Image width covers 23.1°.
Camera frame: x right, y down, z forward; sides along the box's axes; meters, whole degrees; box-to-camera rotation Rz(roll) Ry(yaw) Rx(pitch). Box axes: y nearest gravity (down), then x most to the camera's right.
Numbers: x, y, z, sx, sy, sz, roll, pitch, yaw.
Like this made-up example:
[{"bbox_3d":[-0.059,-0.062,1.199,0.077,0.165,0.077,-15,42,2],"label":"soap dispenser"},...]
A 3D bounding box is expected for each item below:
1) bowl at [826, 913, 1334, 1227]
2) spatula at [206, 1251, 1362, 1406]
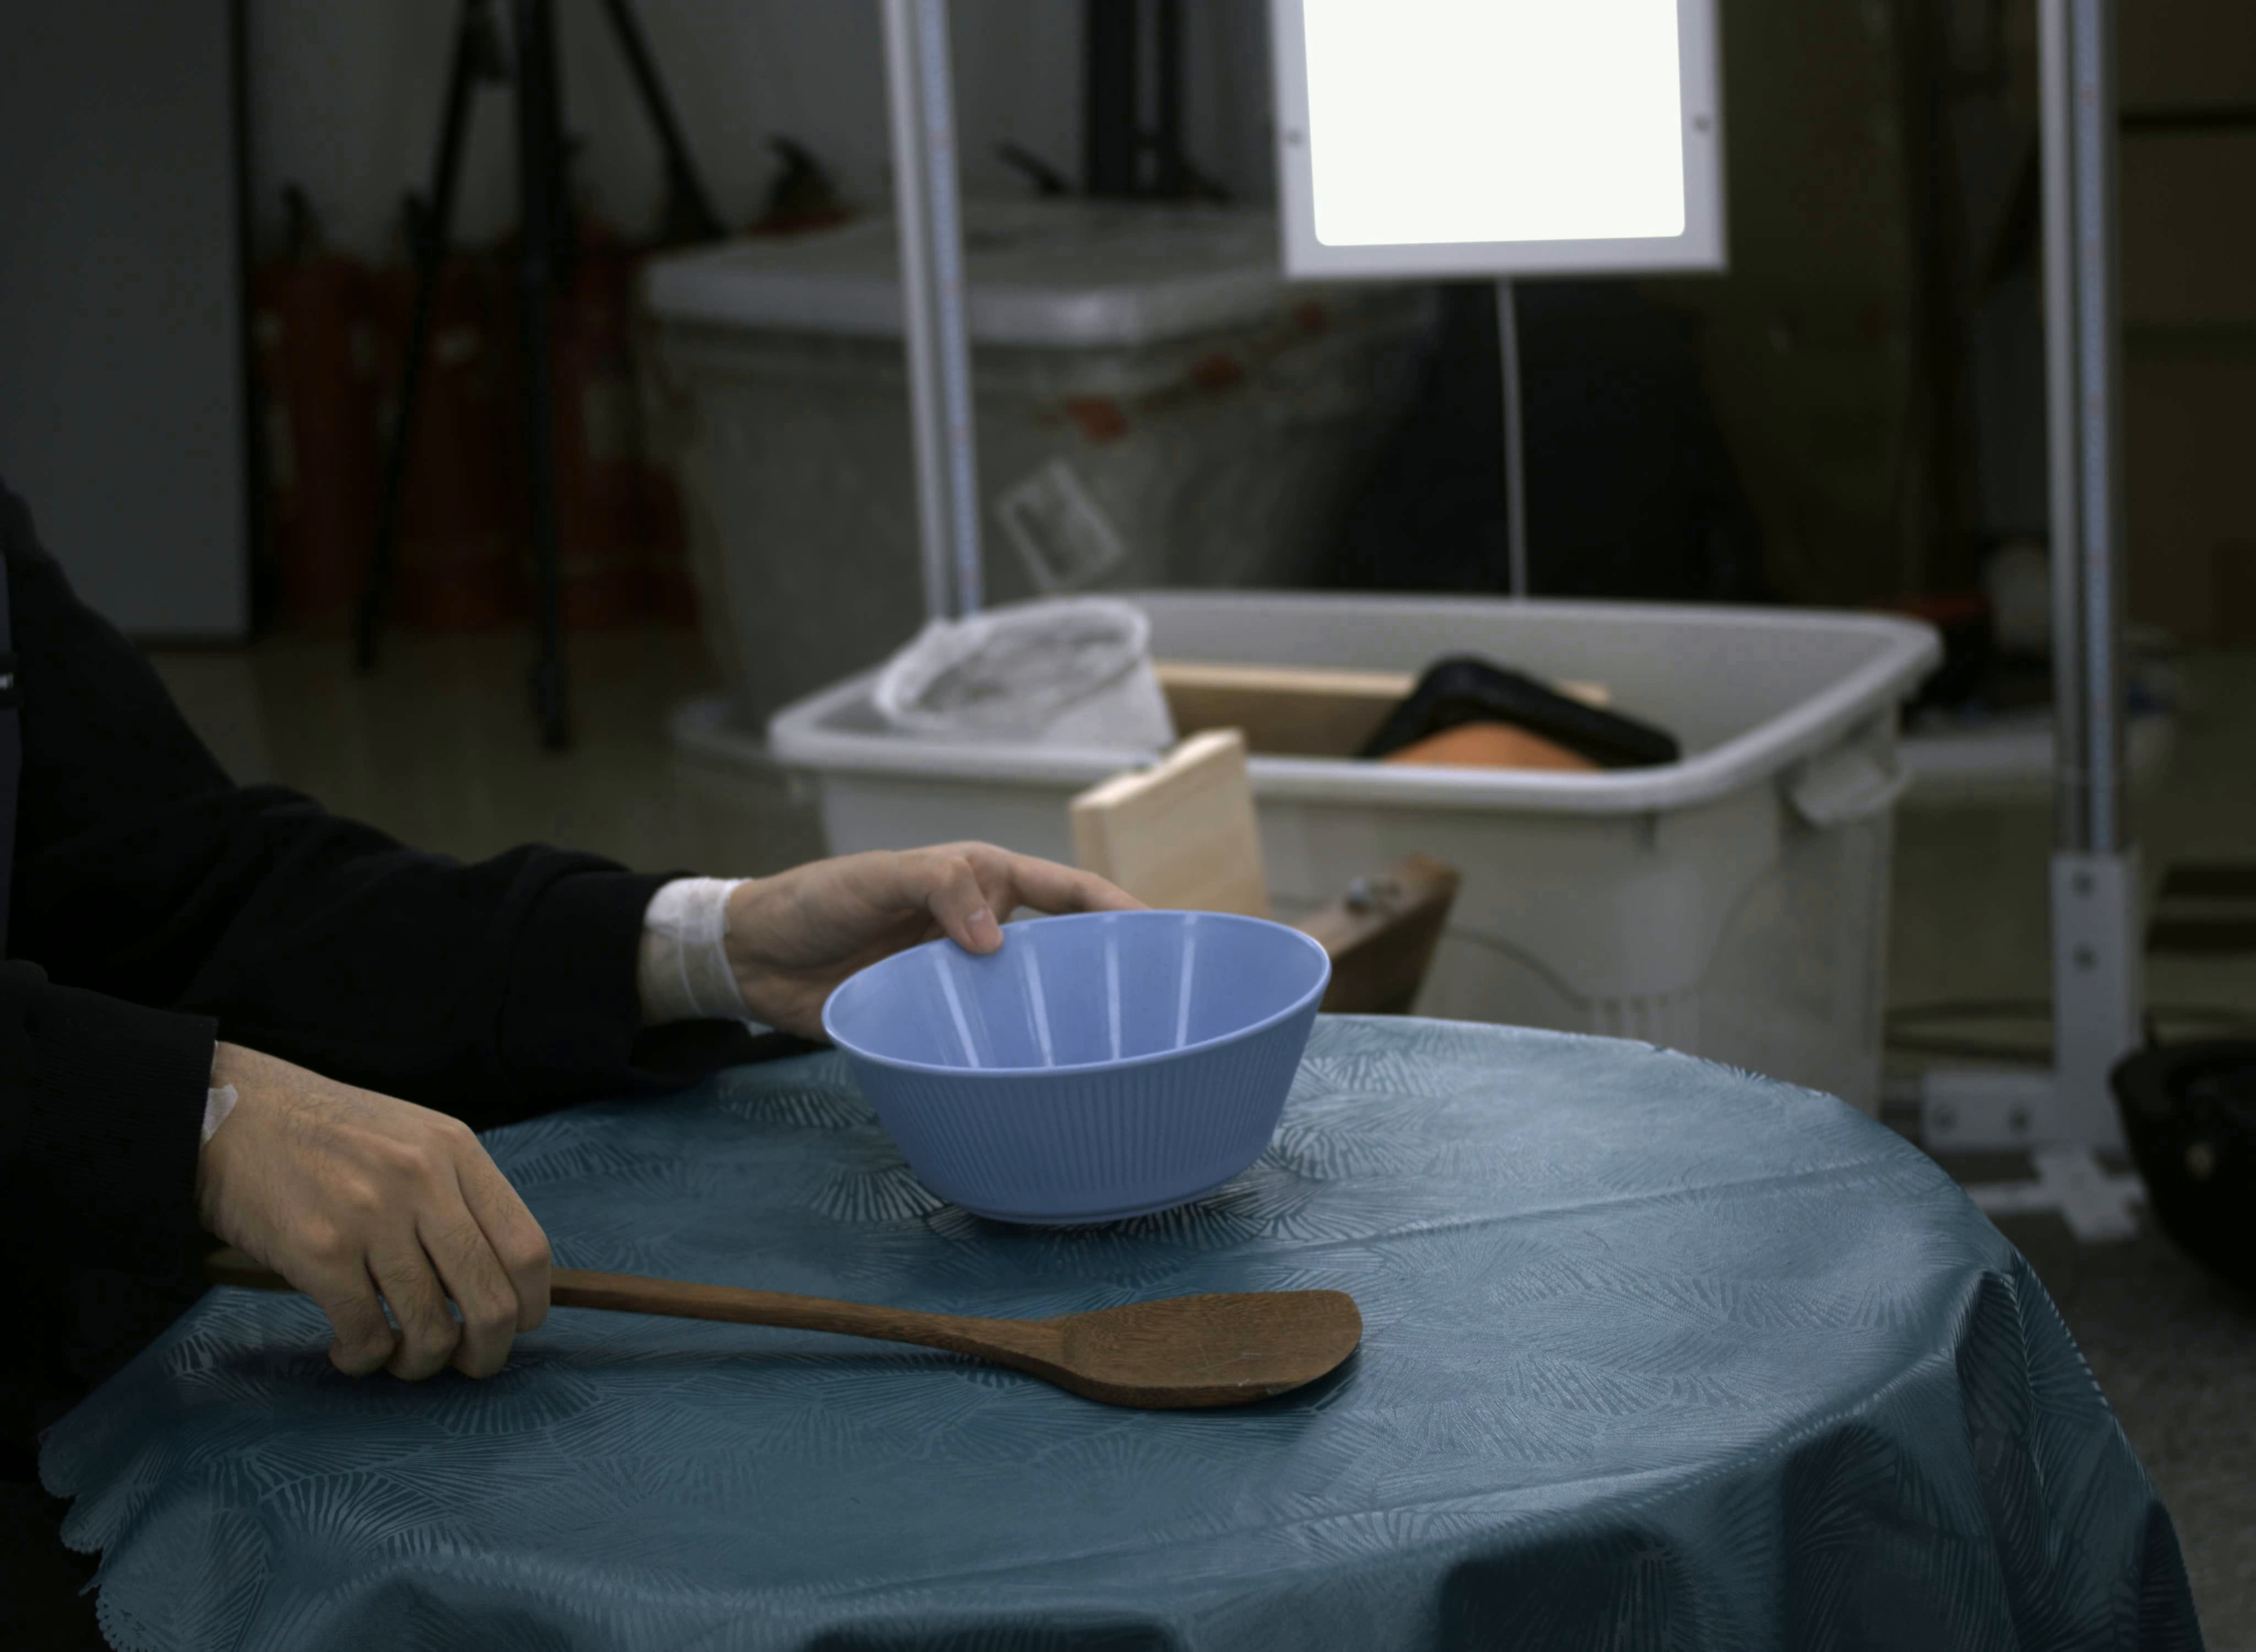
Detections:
[{"bbox_3d":[-0.013,0.087,1.887,0.176,0.070,0.176,-7,15,1],"label":"bowl"},{"bbox_3d":[-0.115,0.156,1.760,0.390,0.016,0.094,3,15,16],"label":"spatula"}]
